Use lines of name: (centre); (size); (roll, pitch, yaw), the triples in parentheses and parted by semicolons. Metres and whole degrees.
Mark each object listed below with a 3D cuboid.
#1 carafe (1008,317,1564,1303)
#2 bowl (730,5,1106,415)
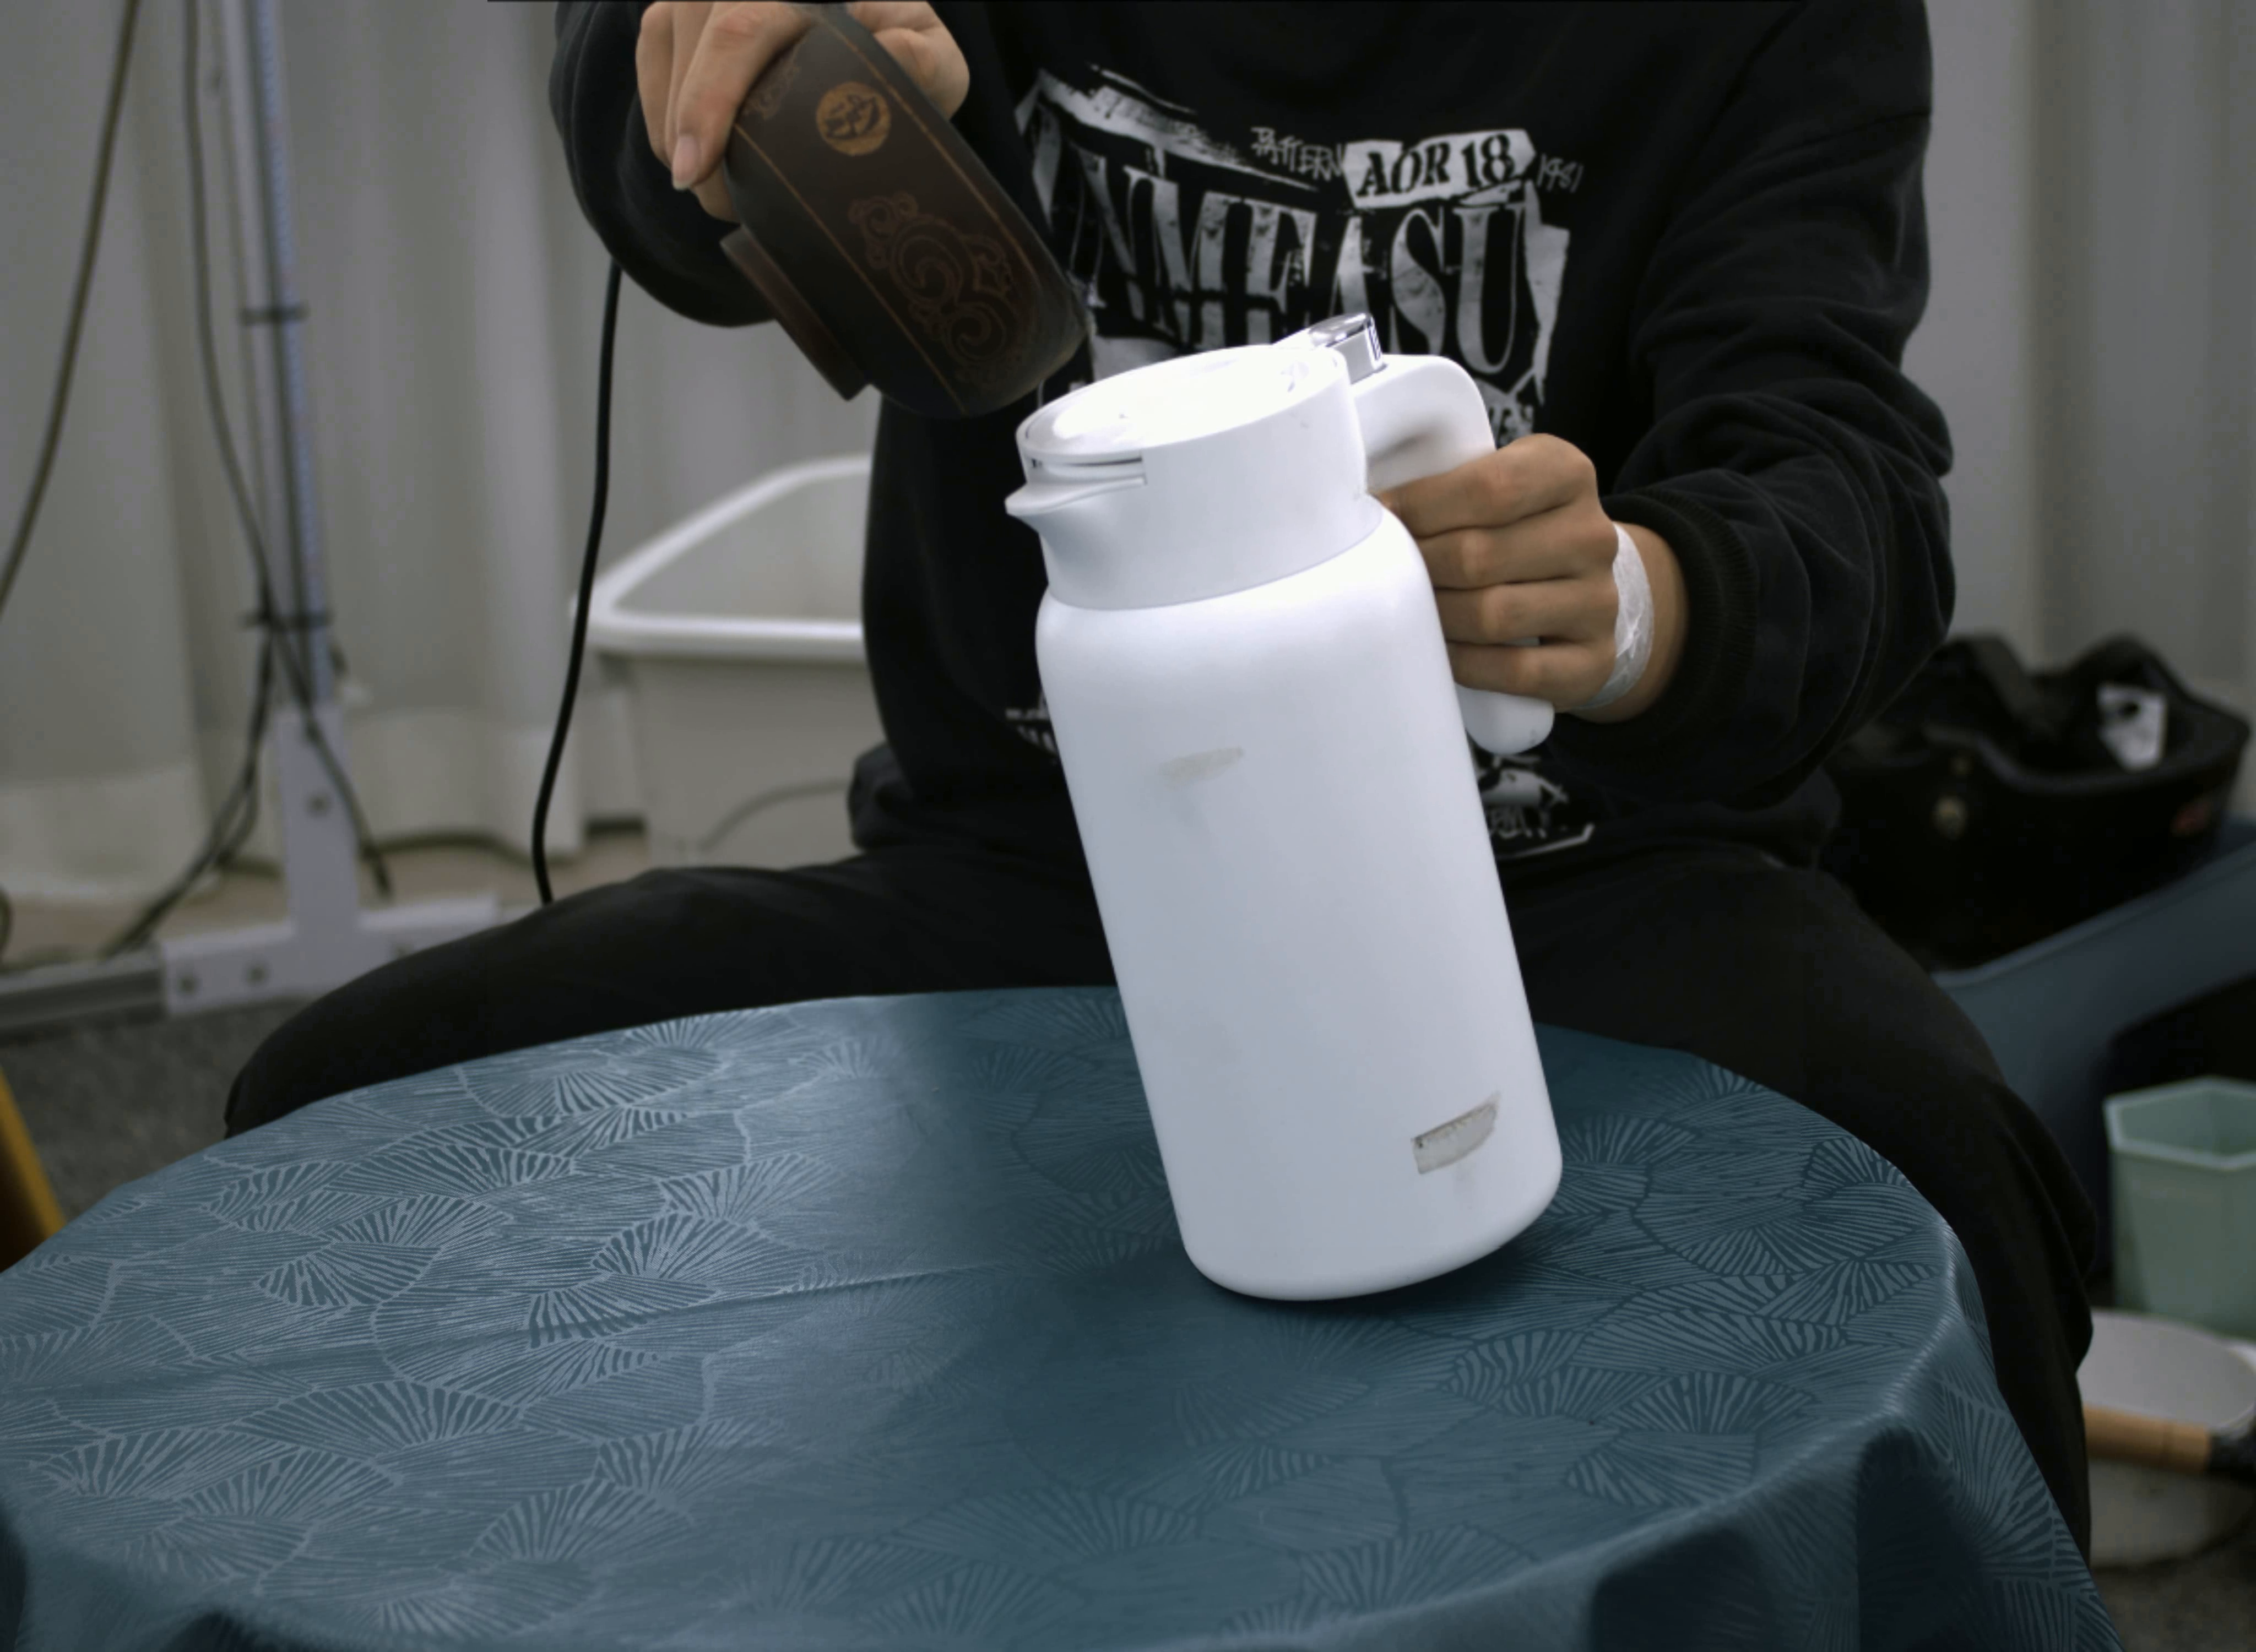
carafe: (0.057, -0.008, 1.616); (0.173, 0.267, 0.124); (-27, 19, -38)
bowl: (-0.068, -0.164, 1.541); (0.070, 0.117, 0.119); (-39, 19, -3)
